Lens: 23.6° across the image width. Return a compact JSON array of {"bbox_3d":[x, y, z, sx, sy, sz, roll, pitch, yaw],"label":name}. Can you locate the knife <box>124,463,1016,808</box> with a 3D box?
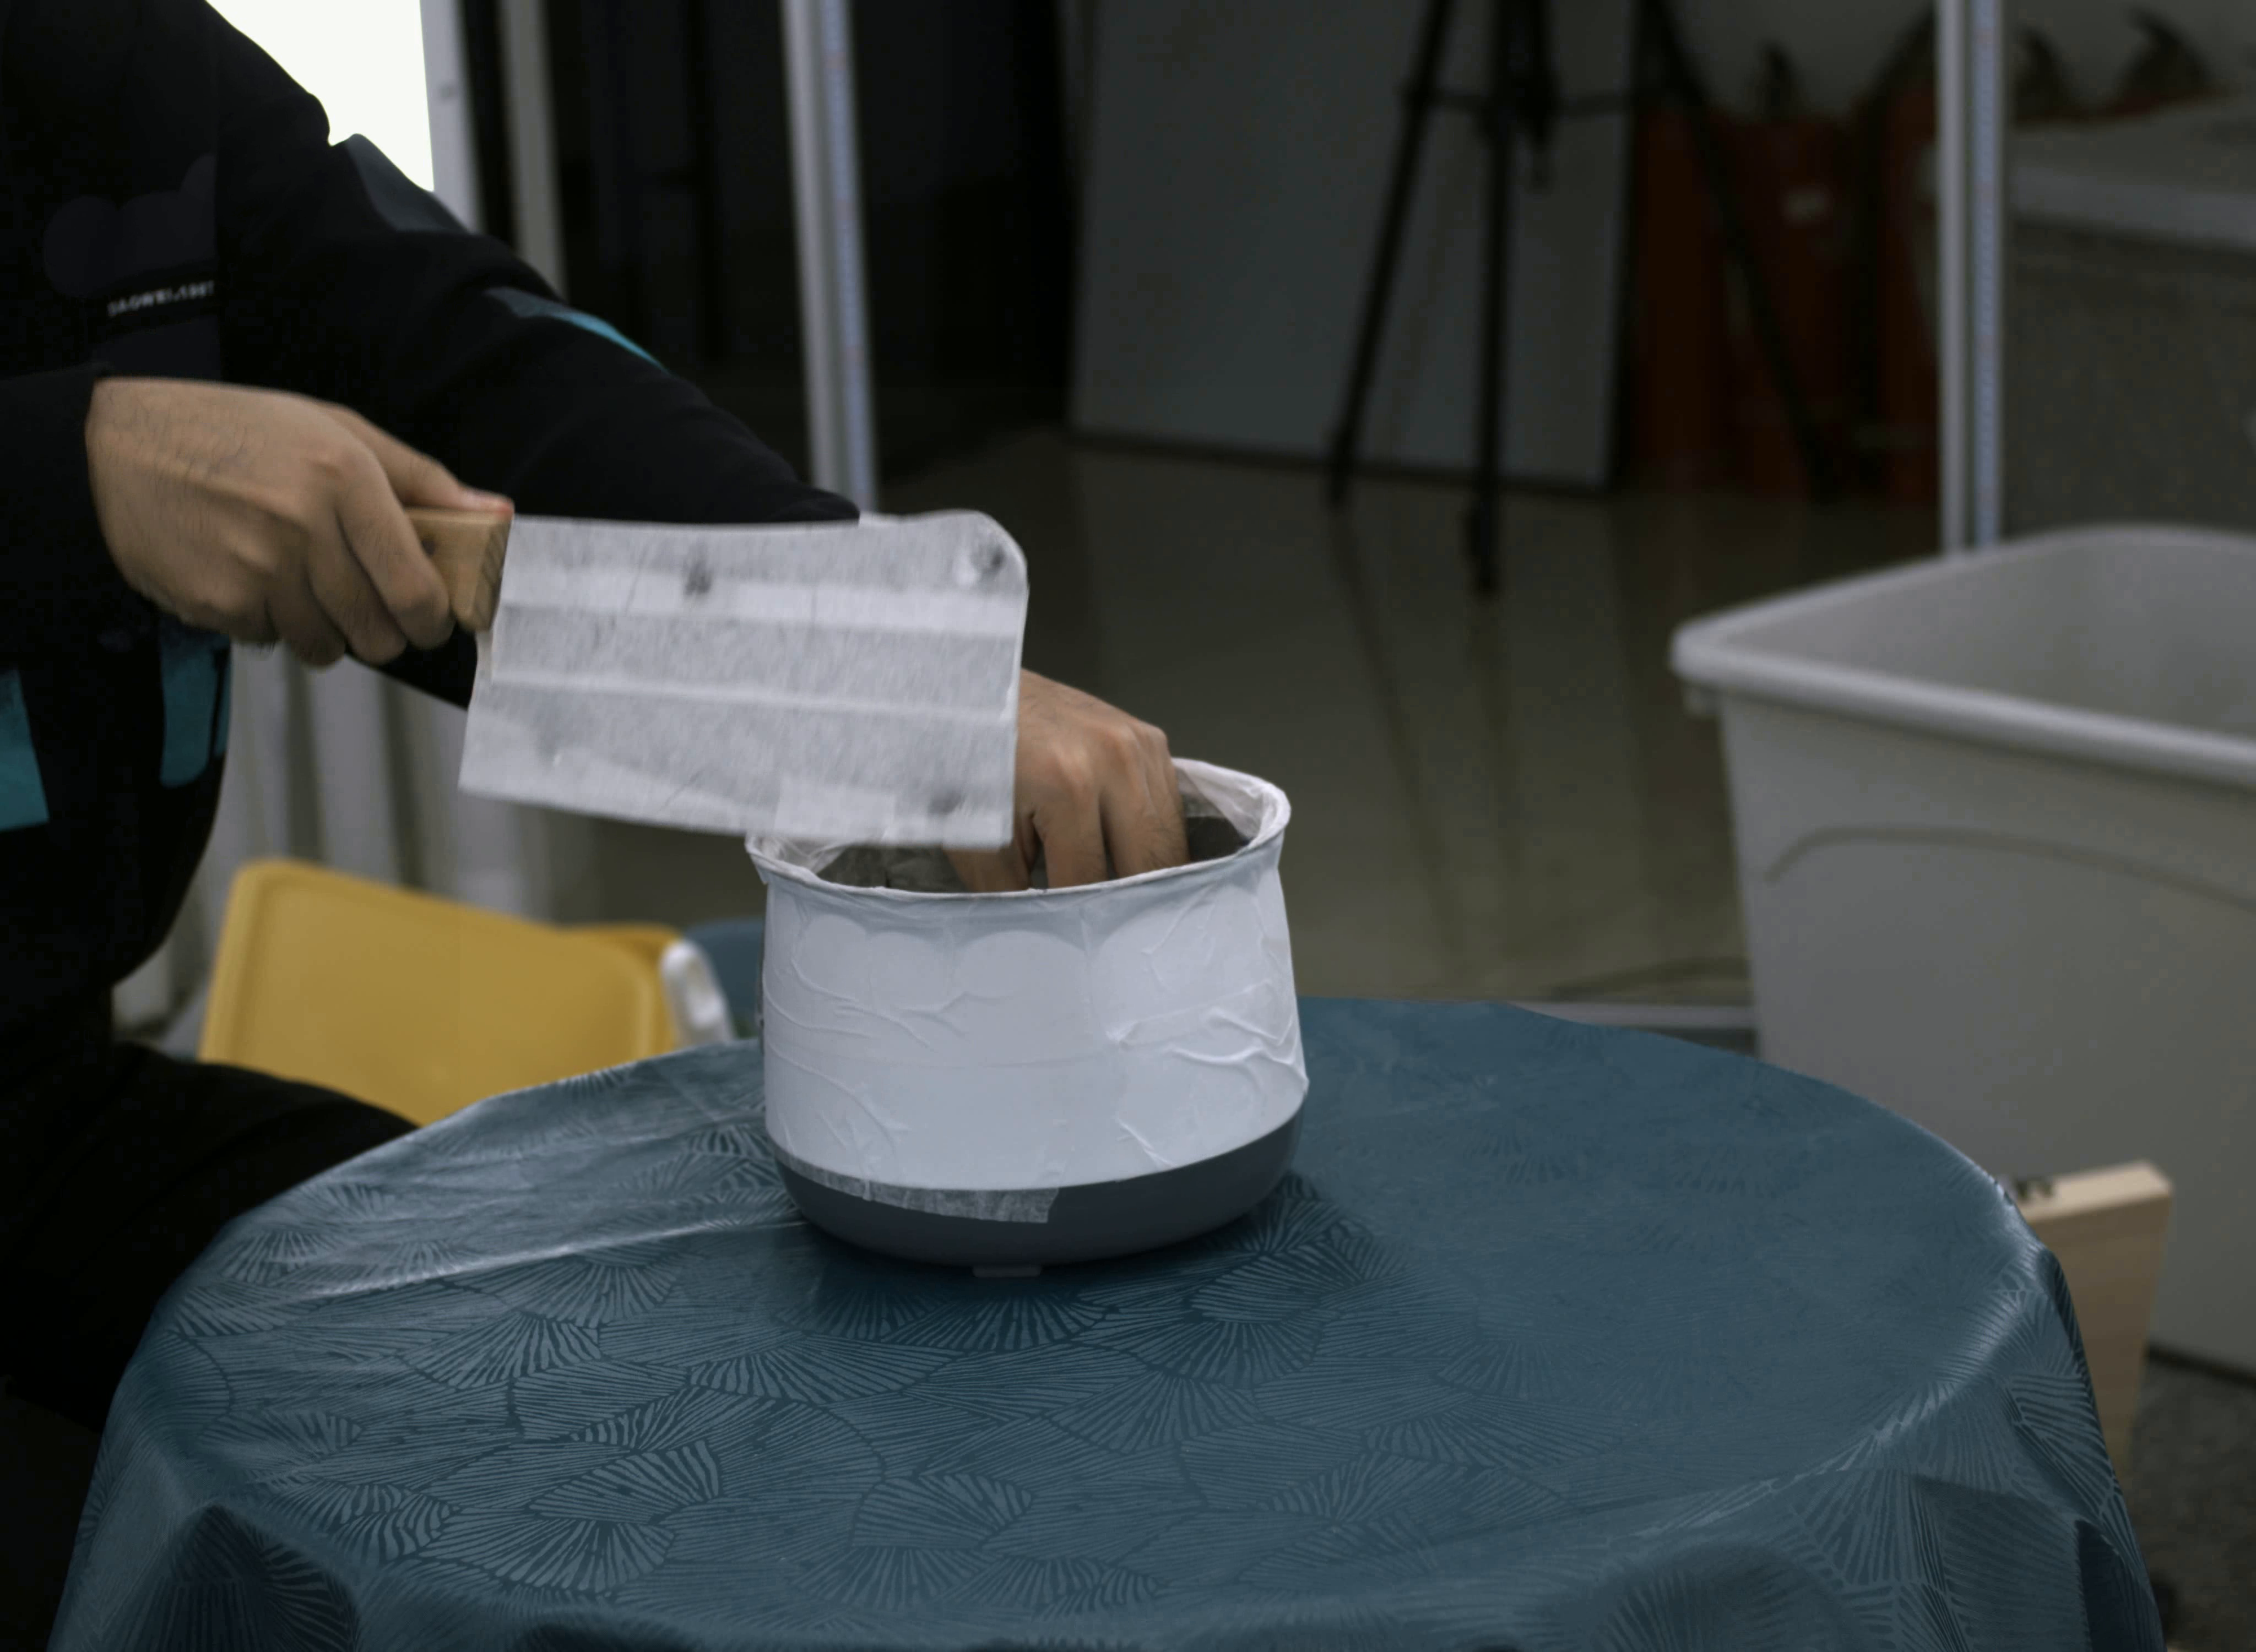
[{"bbox_3d":[-0.168,-0.066,1.635,0.316,0.115,0.021,9,-3,24],"label":"knife"}]

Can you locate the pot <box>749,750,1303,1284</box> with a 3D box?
[{"bbox_3d":[-0.048,0.055,1.765,0.175,0.138,0.236,-13,17,-36],"label":"pot"}]
